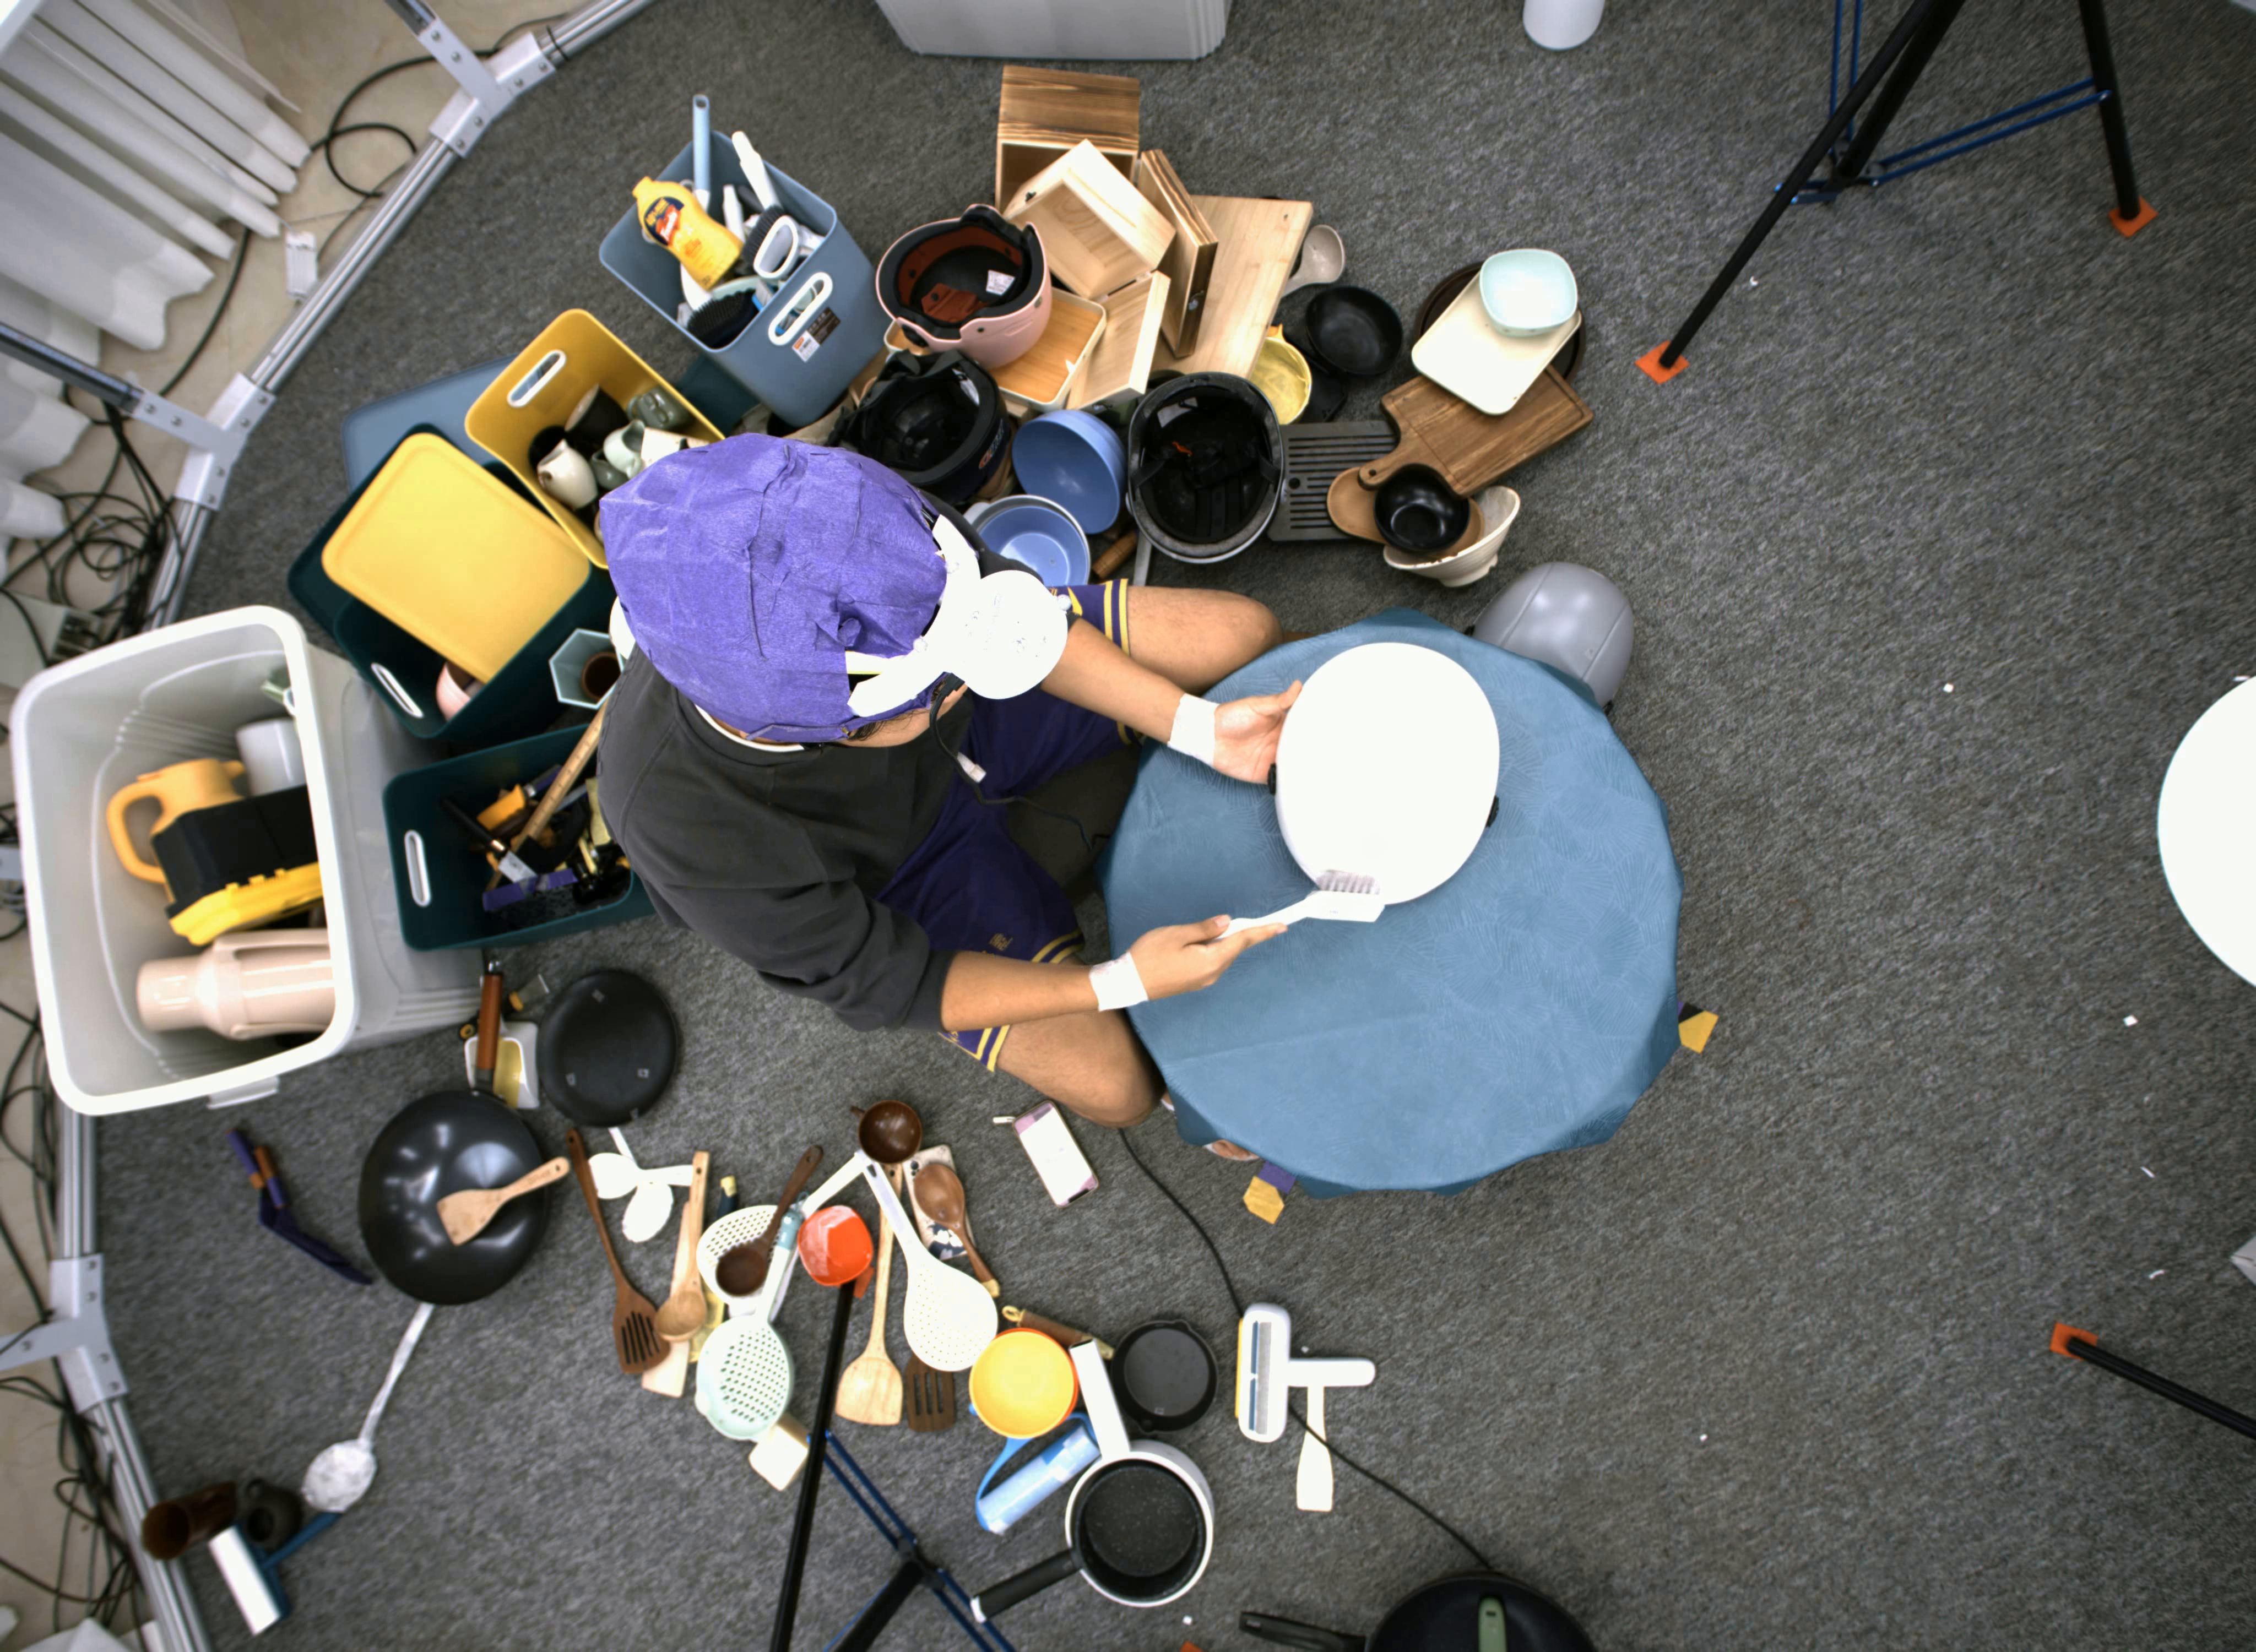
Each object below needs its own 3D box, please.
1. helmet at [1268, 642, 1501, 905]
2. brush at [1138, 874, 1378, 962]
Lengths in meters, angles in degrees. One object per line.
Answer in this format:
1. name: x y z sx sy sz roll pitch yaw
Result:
1. helmet: 0.262 -0.059 1.380 0.237 0.167 0.268 11 88 7
2. brush: 0.128 0.088 1.372 0.245 0.035 0.049 -12 55 8
